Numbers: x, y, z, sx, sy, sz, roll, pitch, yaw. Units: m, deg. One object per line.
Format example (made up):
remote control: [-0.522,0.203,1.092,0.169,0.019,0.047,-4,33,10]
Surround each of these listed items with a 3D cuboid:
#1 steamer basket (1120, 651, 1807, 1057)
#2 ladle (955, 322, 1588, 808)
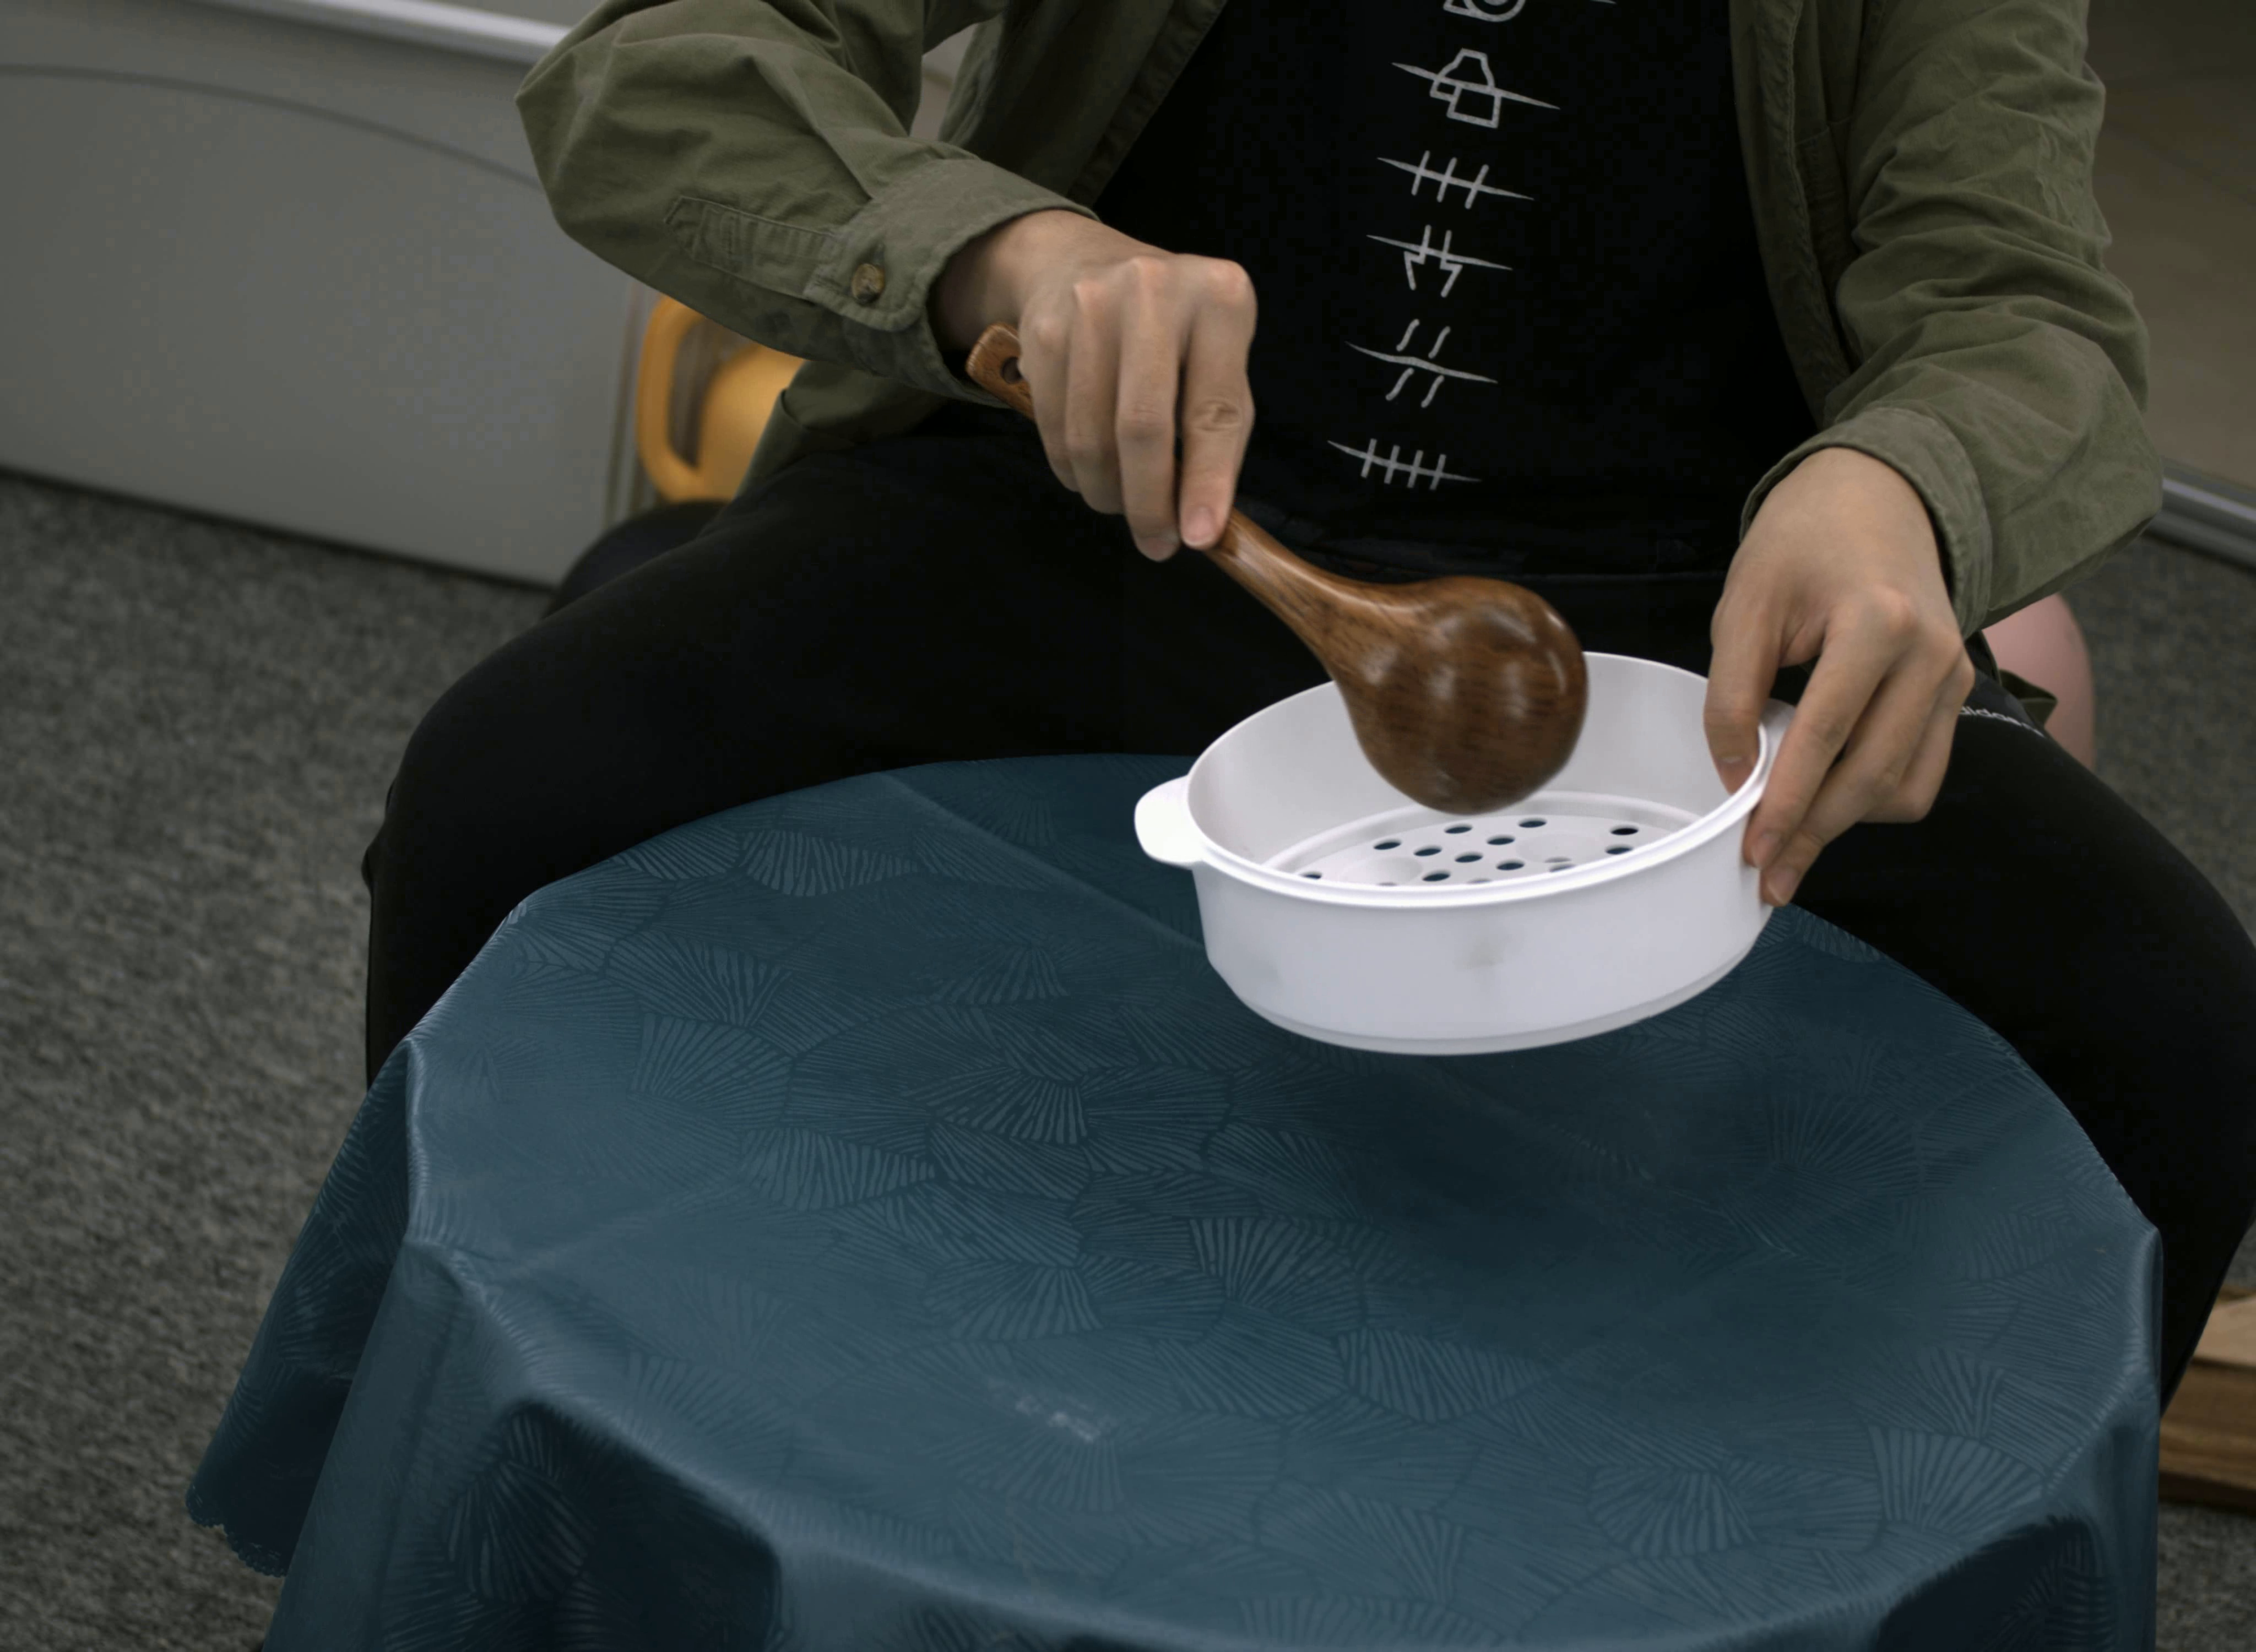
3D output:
steamer basket: [0.114,0.009,1.790,0.230,0.069,0.203,-8,24,0]
ladle: [0.049,-0.099,1.829,0.076,0.082,0.276,22,14,-49]
